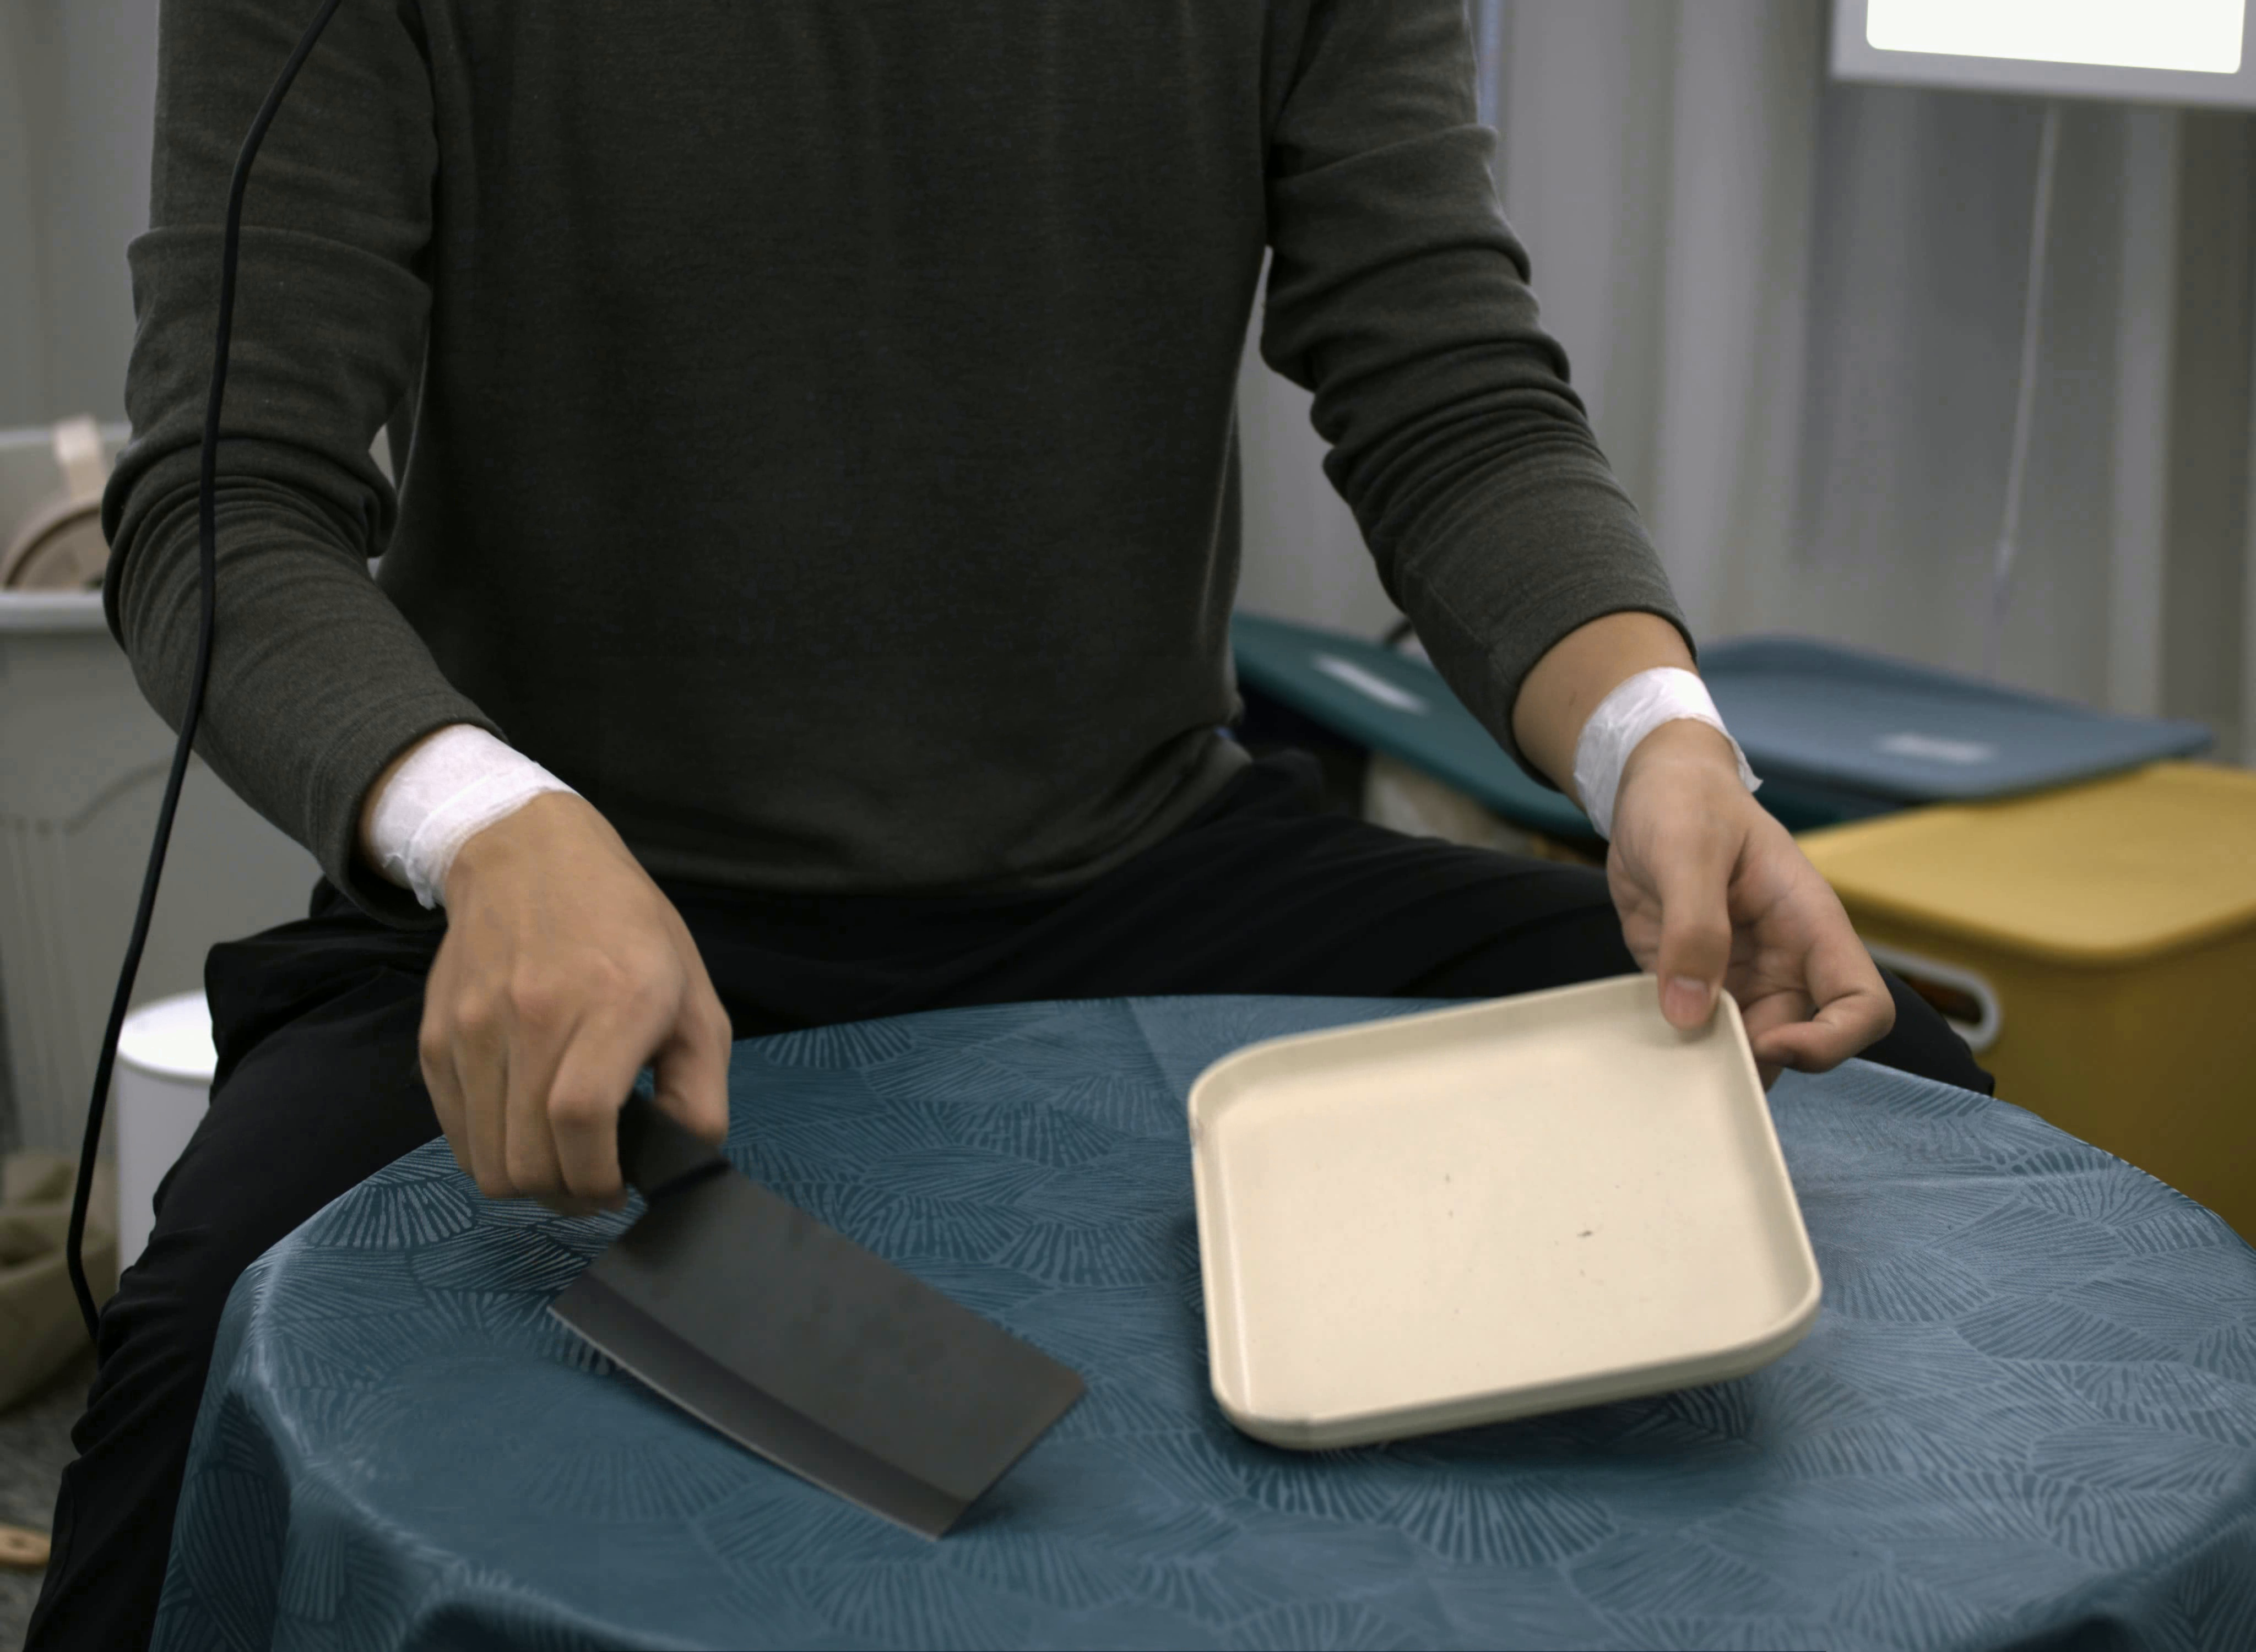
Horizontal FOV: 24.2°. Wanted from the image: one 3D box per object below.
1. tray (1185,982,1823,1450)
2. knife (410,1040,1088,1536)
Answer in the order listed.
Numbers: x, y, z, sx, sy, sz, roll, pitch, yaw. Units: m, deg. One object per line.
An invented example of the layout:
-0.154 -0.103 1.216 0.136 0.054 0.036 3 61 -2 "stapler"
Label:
0.104 0.110 1.514 0.170 0.017 0.238 -10 22 3 "tray"
-0.120 0.123 1.475 0.081 0.021 0.298 -39 38 -18 "knife"
